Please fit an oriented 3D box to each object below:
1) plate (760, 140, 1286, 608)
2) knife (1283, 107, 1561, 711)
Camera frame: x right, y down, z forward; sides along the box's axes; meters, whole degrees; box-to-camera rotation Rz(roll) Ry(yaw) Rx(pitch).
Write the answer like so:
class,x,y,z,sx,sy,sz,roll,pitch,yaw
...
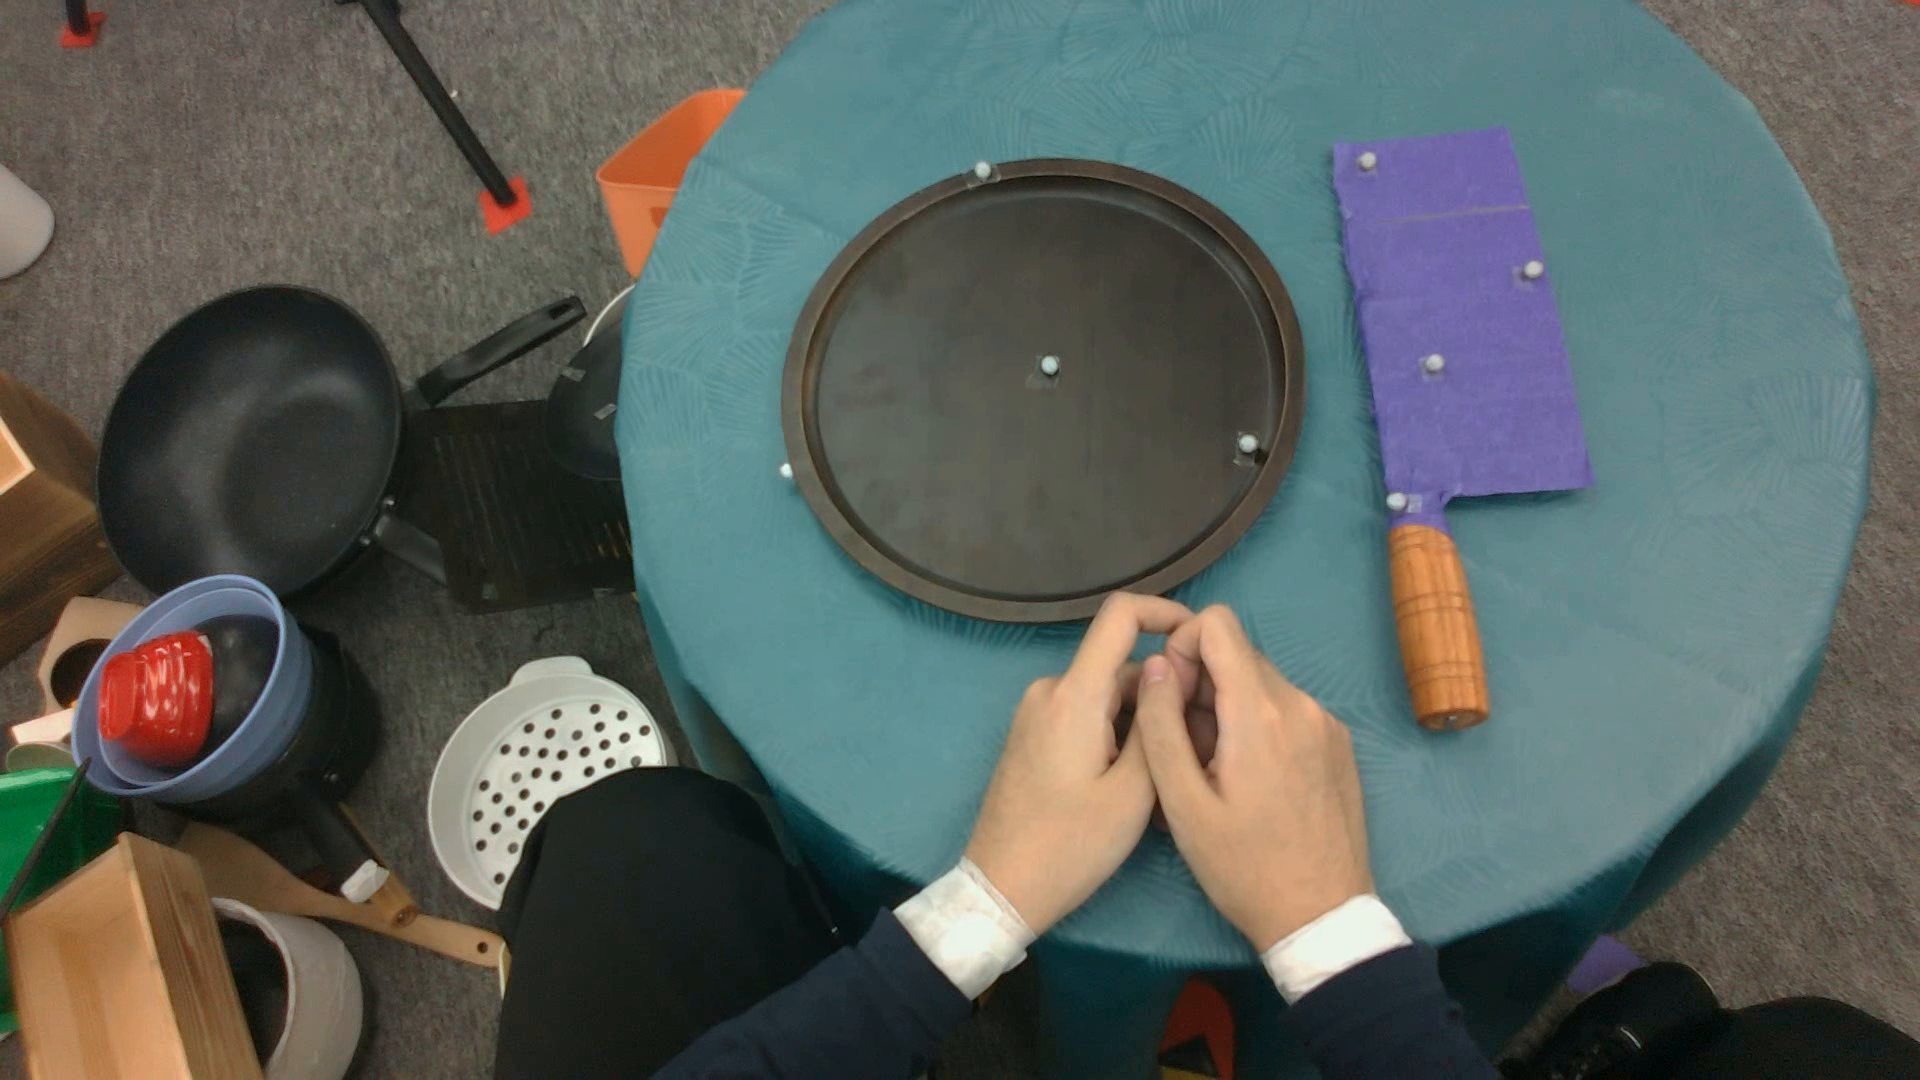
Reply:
class,x,y,z,sx,sy,sz,roll,pitch,yaw
plate,0.028,-0.085,0.668,0.254,0.029,0.255,-2,66,6
knife,0.225,-0.078,0.642,0.104,0.032,0.316,-5,66,4
